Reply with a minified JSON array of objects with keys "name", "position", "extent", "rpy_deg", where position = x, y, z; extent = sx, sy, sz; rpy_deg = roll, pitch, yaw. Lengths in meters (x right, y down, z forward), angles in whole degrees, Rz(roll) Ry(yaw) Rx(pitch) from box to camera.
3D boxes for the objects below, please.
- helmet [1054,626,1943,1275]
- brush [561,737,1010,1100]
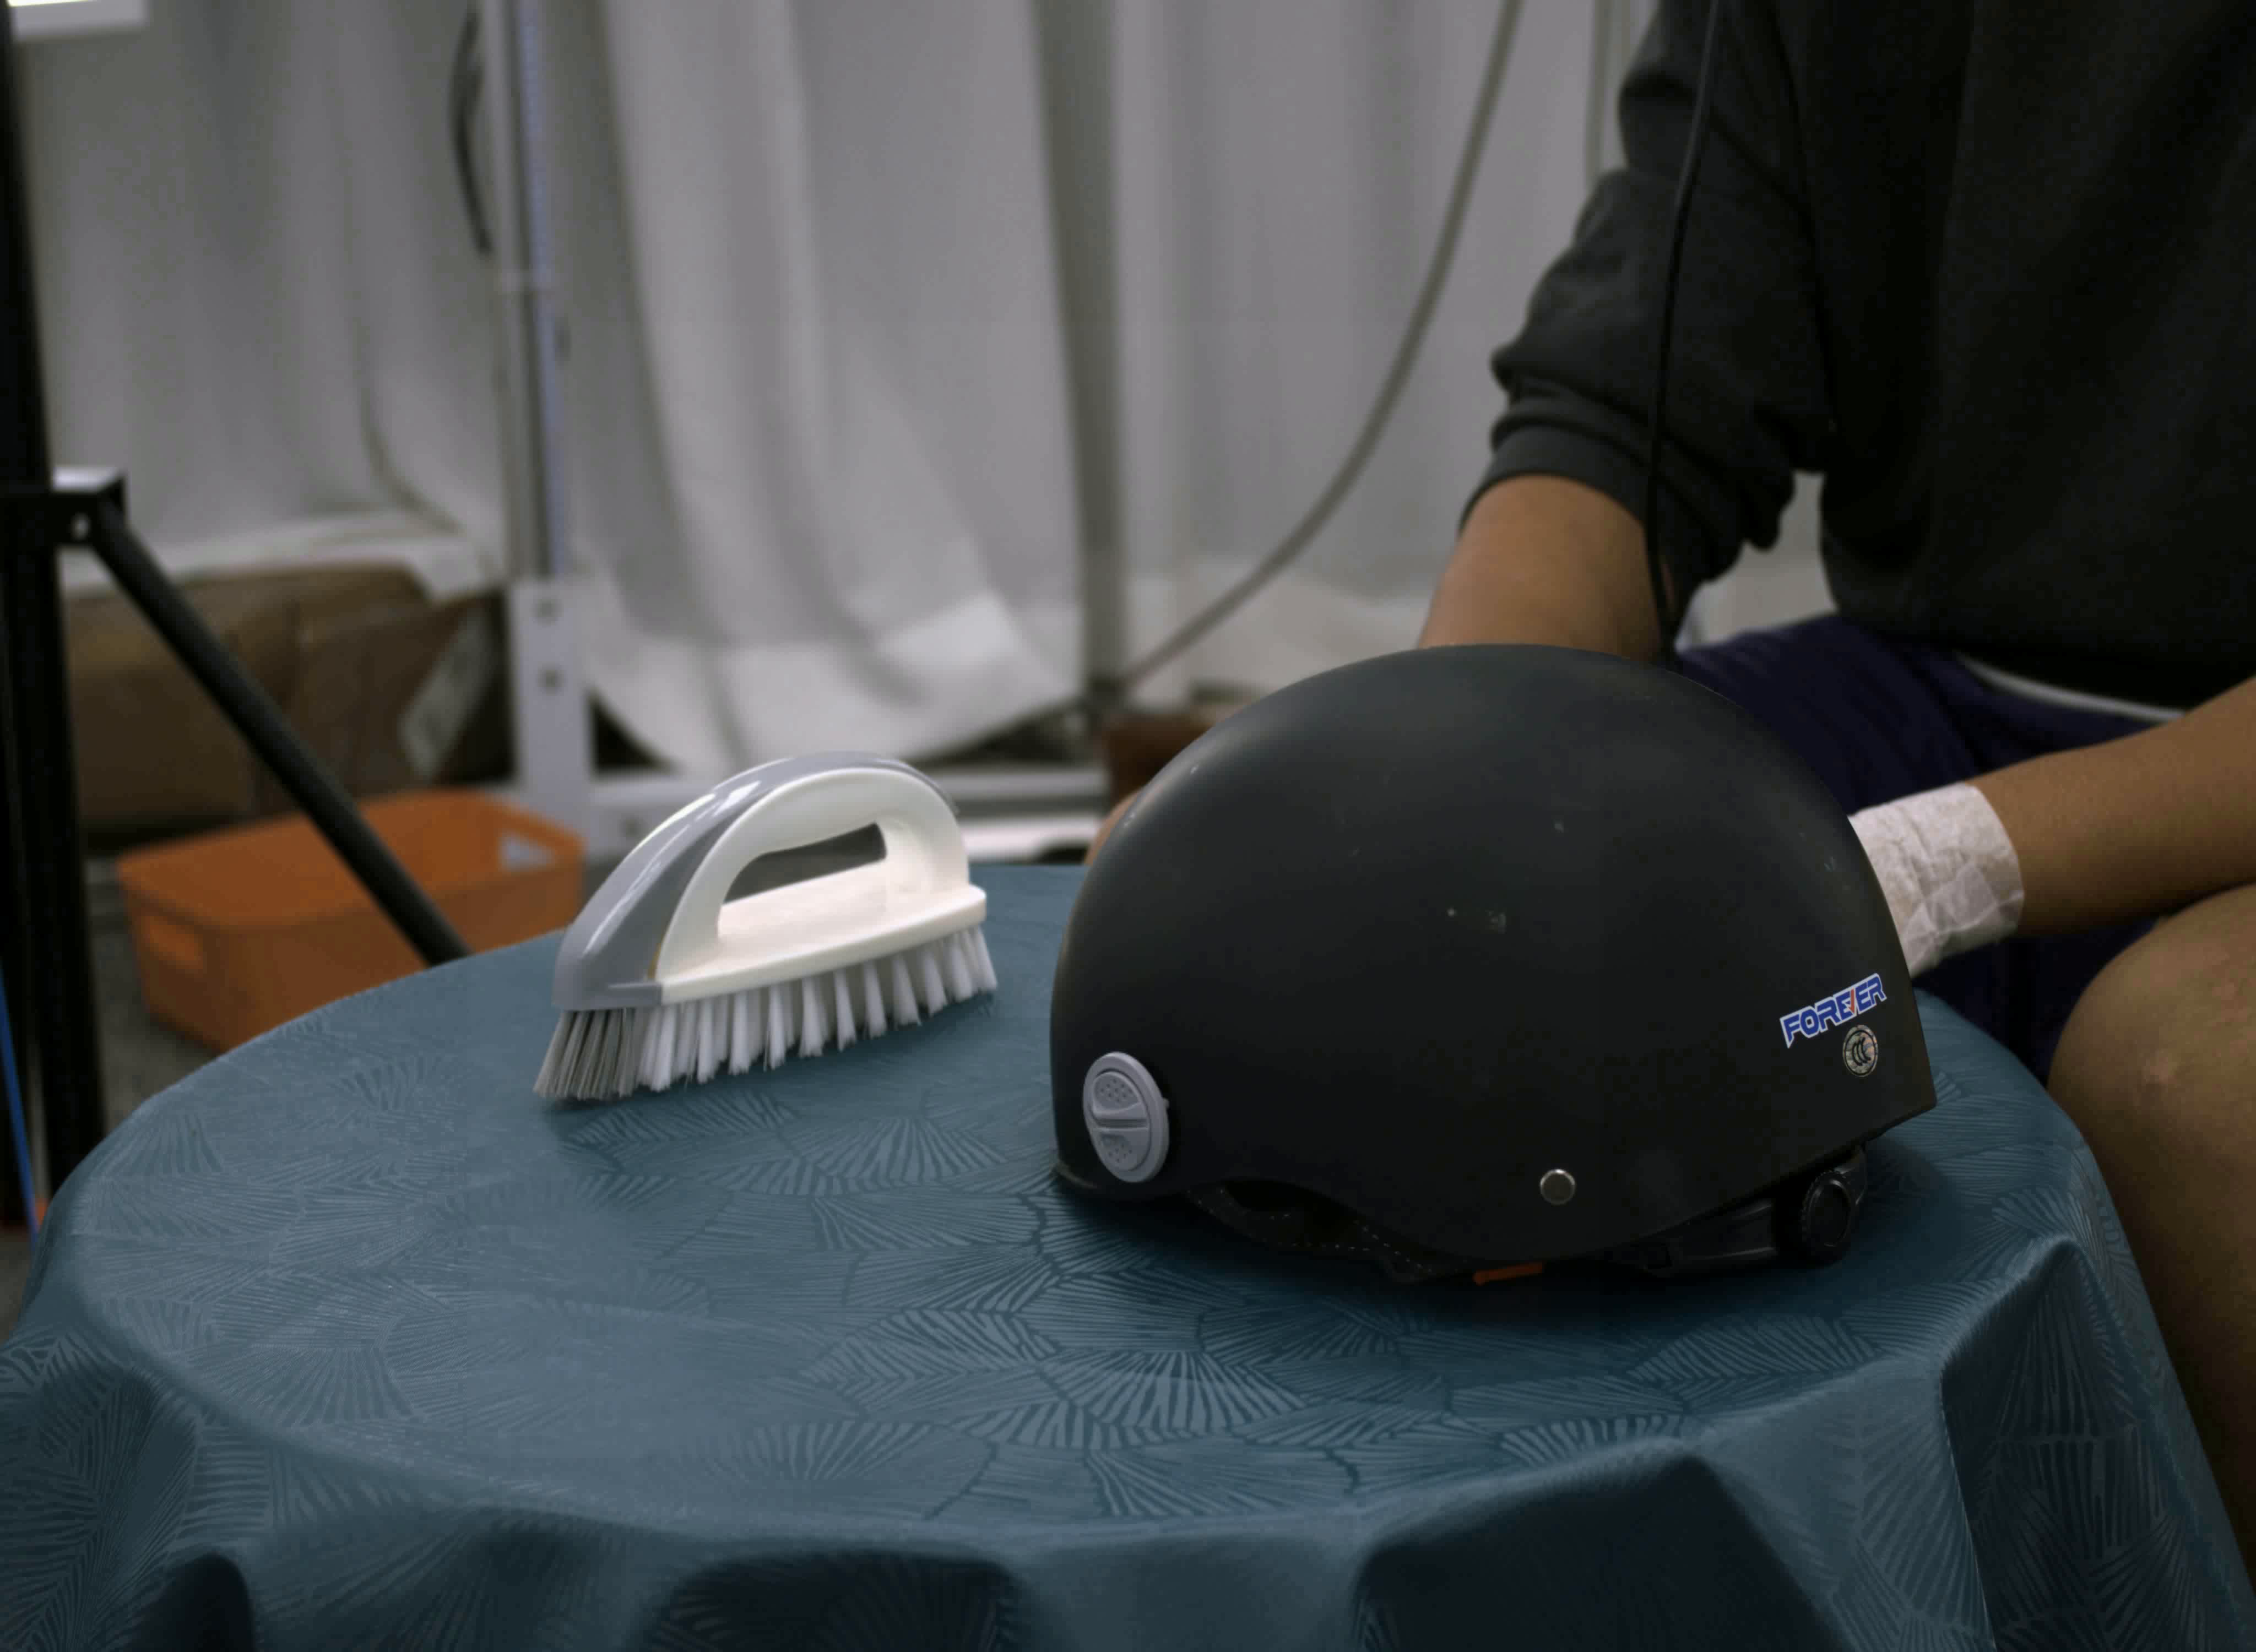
[{"name":"helmet","position":[0.100,0.027,1.538],"extent":[0.279,0.167,0.225],"rpy_deg":[10,19,44]},{"name":"brush","position":[-0.116,0.026,1.701],"extent":[0.171,0.094,0.063],"rpy_deg":[-19,20,-41]}]
